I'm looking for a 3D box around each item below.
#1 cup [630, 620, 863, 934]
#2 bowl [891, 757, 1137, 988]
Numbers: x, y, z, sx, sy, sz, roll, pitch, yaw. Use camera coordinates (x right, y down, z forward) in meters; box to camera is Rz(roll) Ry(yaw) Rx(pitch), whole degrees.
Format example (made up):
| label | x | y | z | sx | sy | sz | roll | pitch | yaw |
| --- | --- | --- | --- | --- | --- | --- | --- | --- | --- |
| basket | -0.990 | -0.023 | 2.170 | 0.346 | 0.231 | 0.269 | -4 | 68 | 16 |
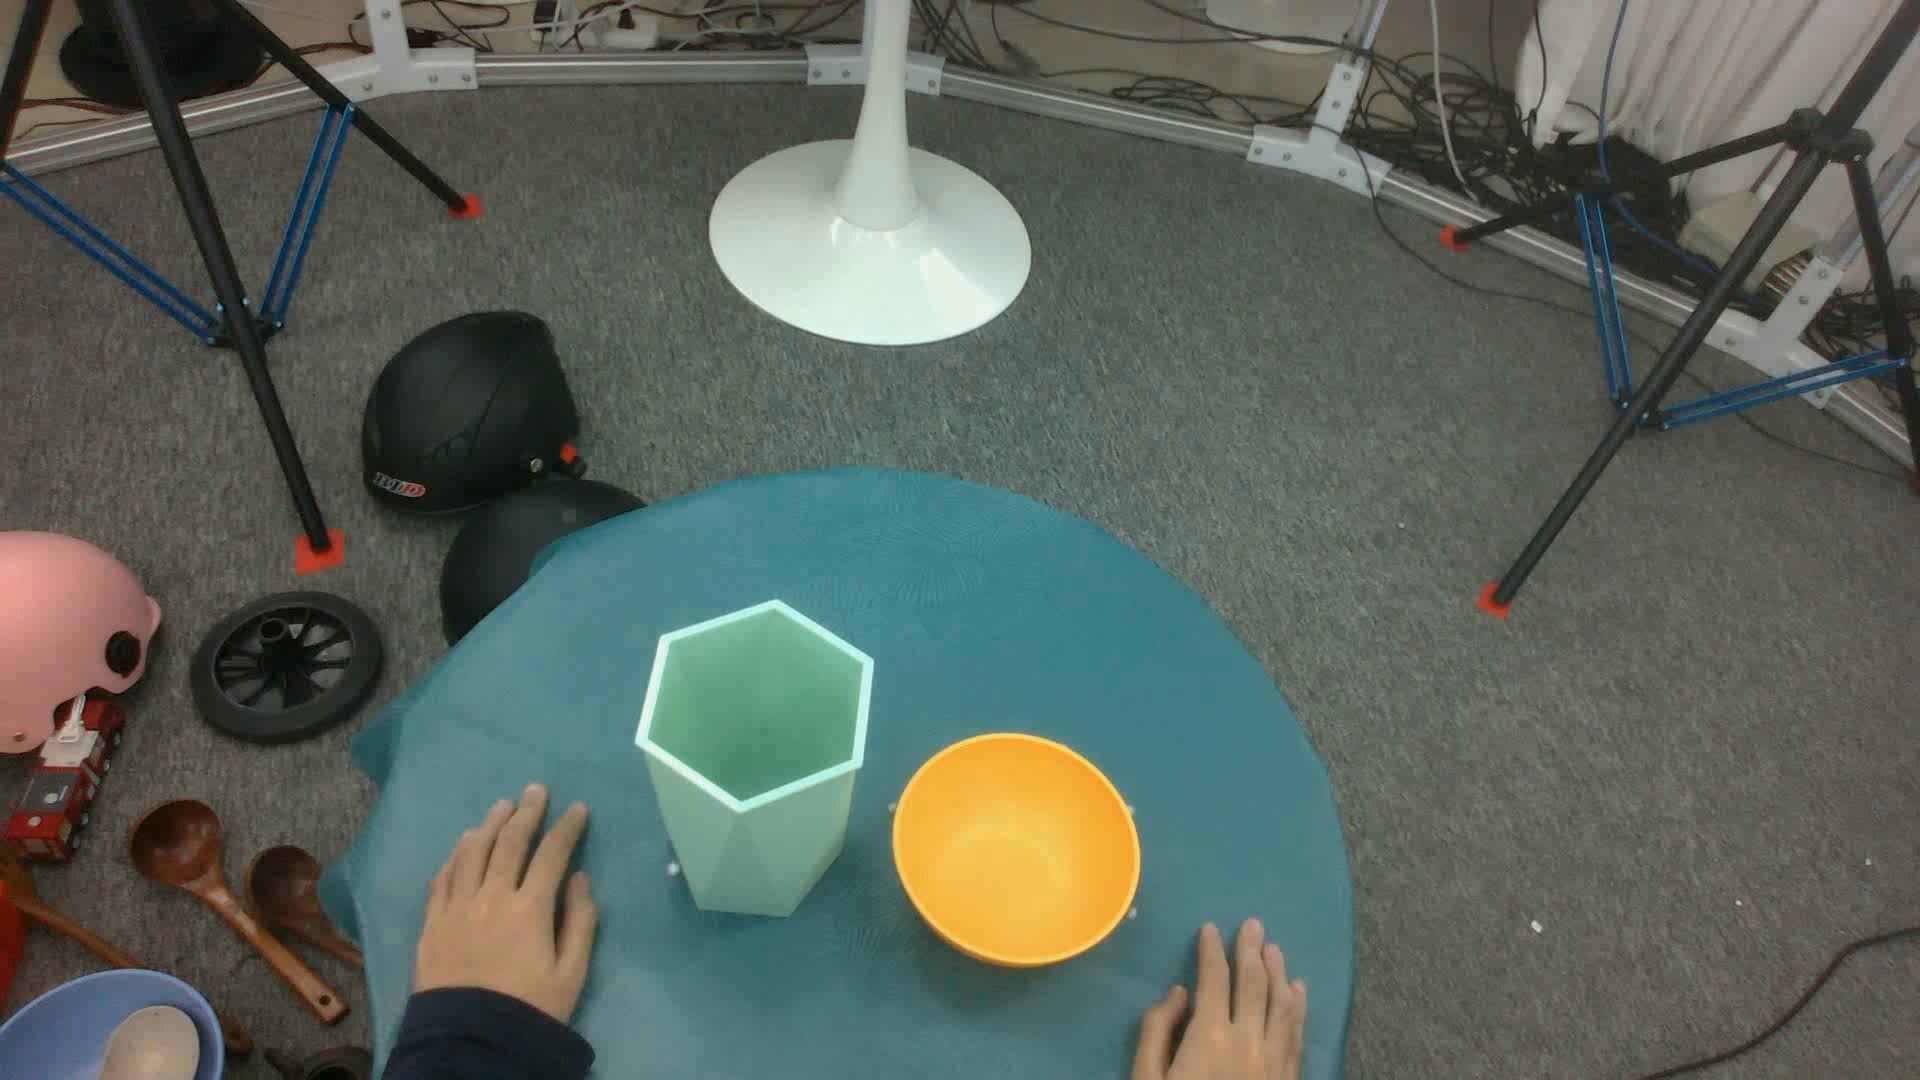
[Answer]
| label | x | y | z | sx | sy | sz | roll | pitch | yaw |
| --- | --- | --- | --- | --- | --- | --- | --- | --- | --- |
| cup | -0.118 | 0.145 | 0.783 | 0.131 | 0.162 | 0.116 | 27 | 52 | 15 |
| bowl | 0.030 | 0.207 | 0.826 | 0.145 | 0.060 | 0.146 | 3 | 51 | -4 |
